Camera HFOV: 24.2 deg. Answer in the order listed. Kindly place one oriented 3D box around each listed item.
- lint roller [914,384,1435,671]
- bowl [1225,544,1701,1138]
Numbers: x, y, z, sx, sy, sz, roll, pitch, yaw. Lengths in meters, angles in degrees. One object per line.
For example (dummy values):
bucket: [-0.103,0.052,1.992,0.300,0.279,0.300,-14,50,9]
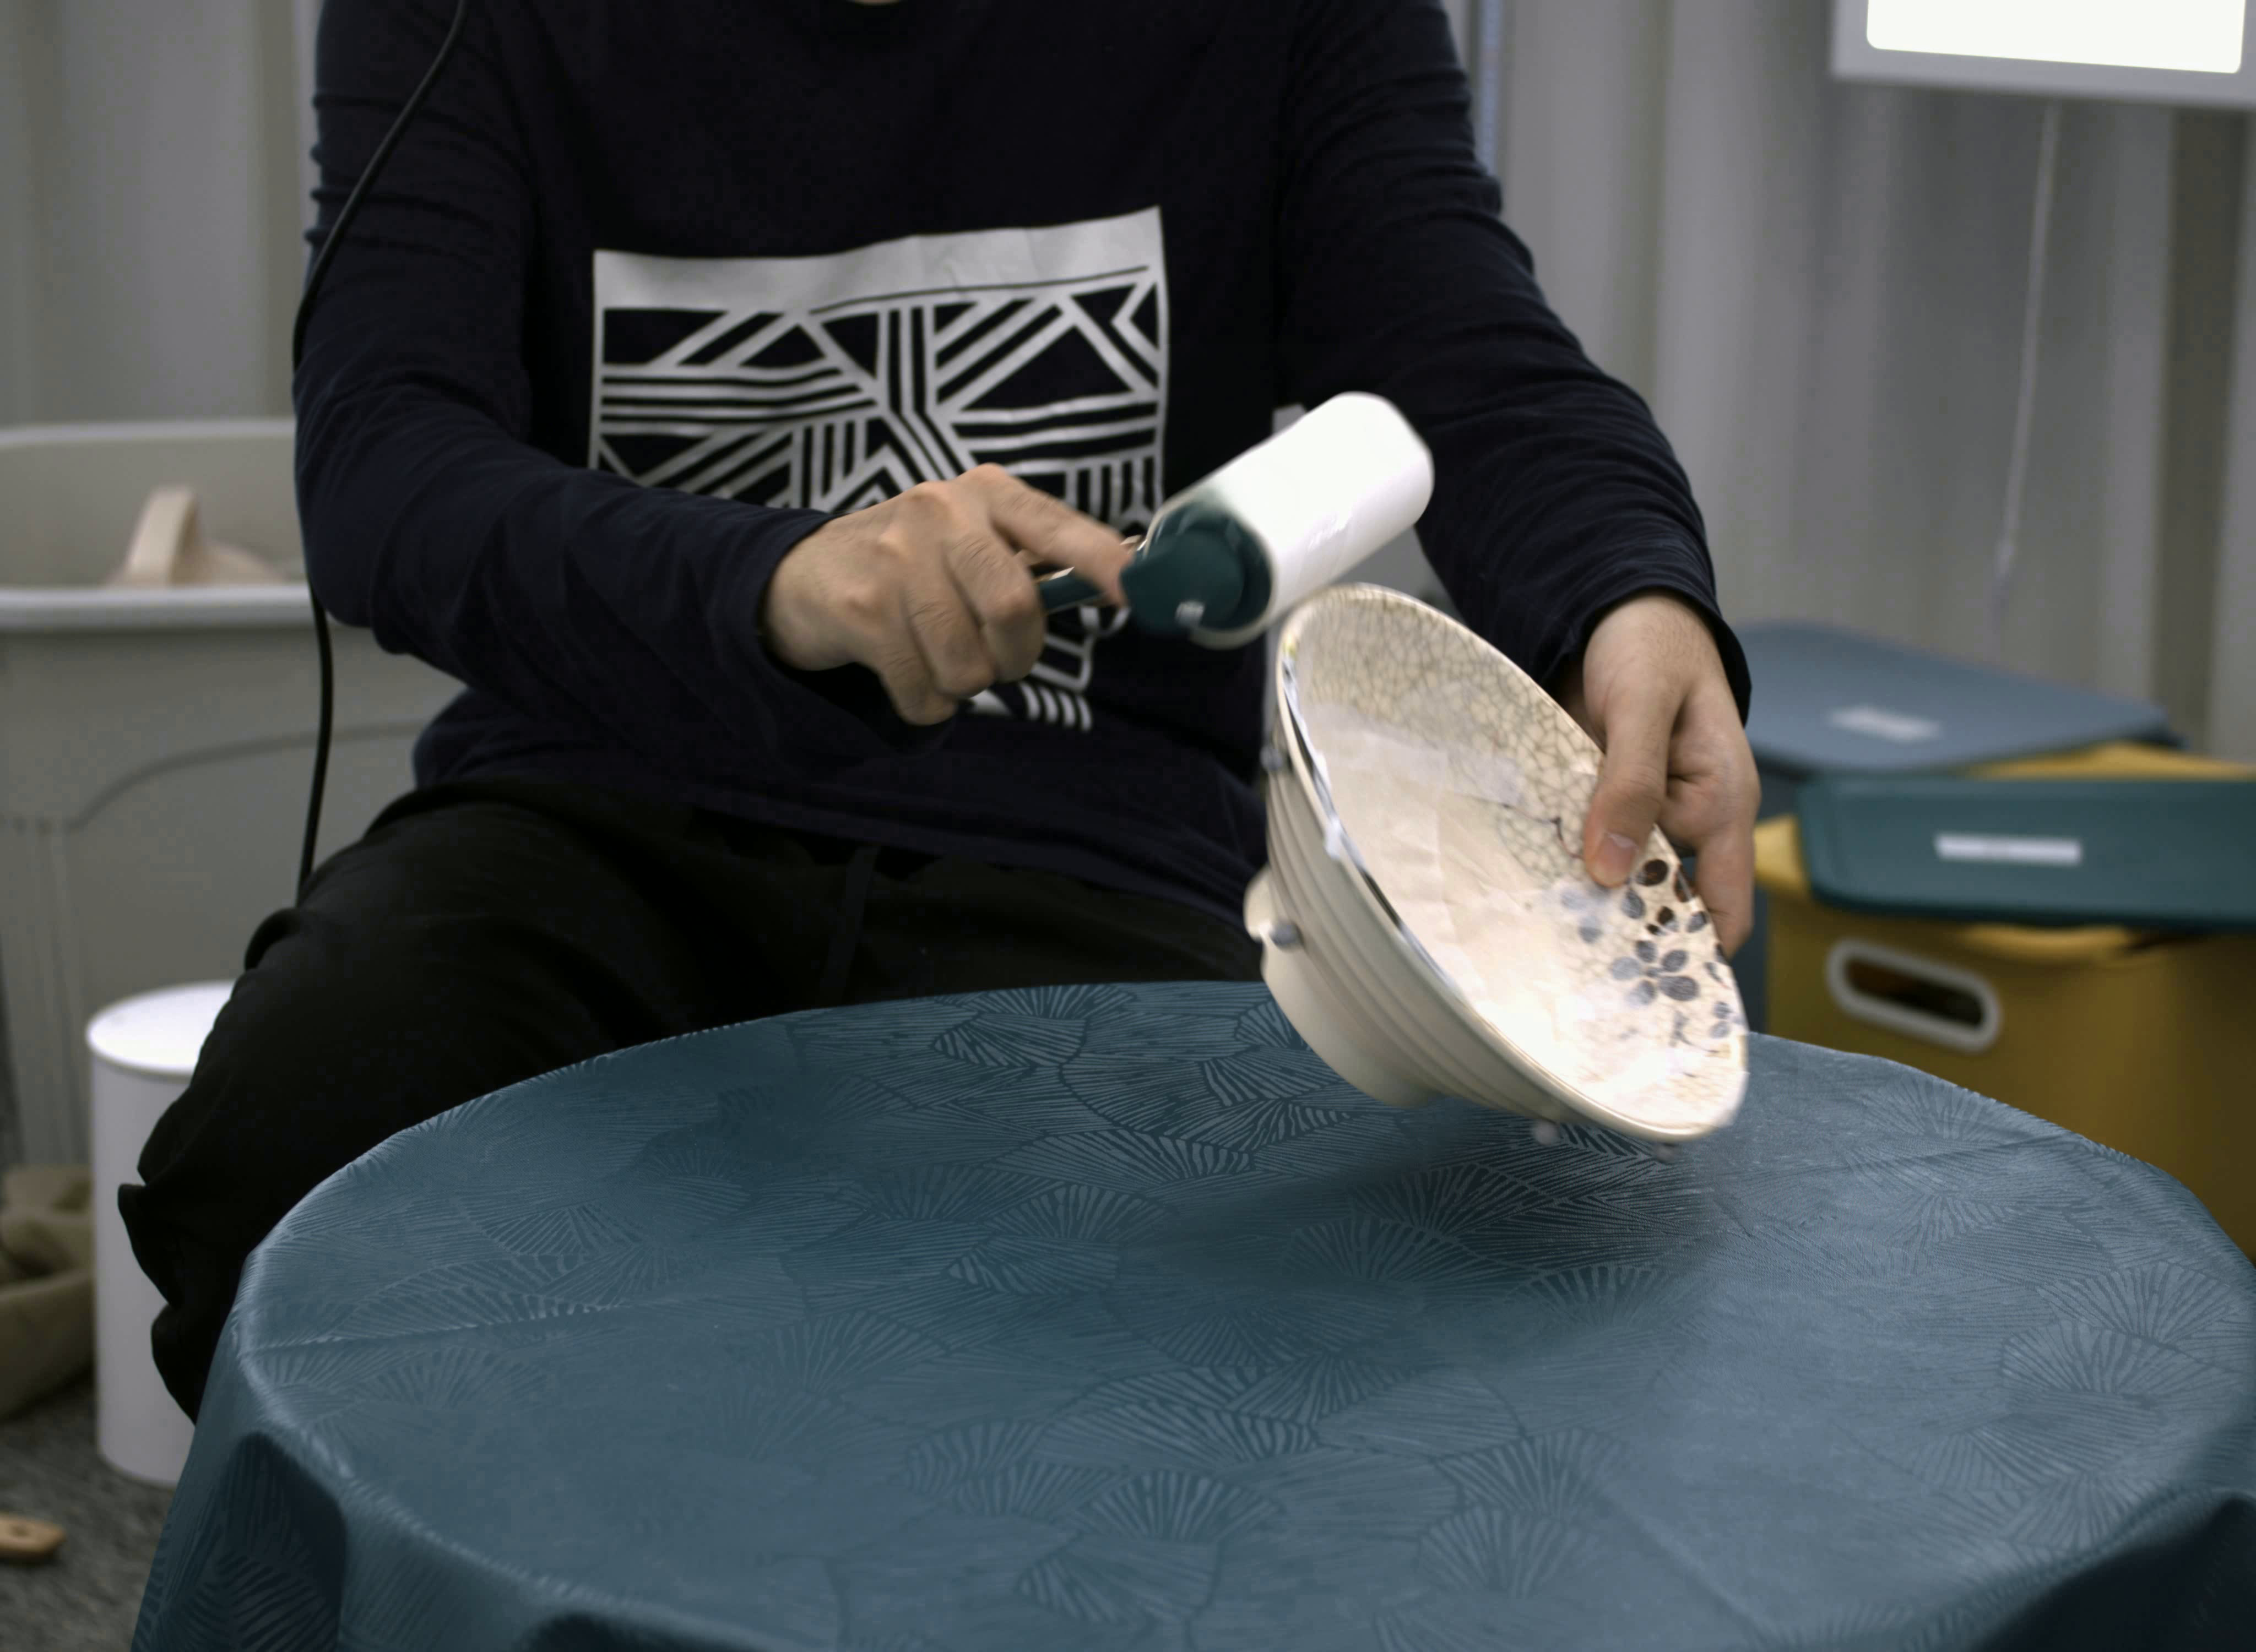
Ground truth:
lint roller: [-0.002,-0.088,1.642,0.178,0.048,0.134,-12,12,35]
bowl: [0.086,0.021,1.603,0.077,0.204,0.204,-32,4,23]
